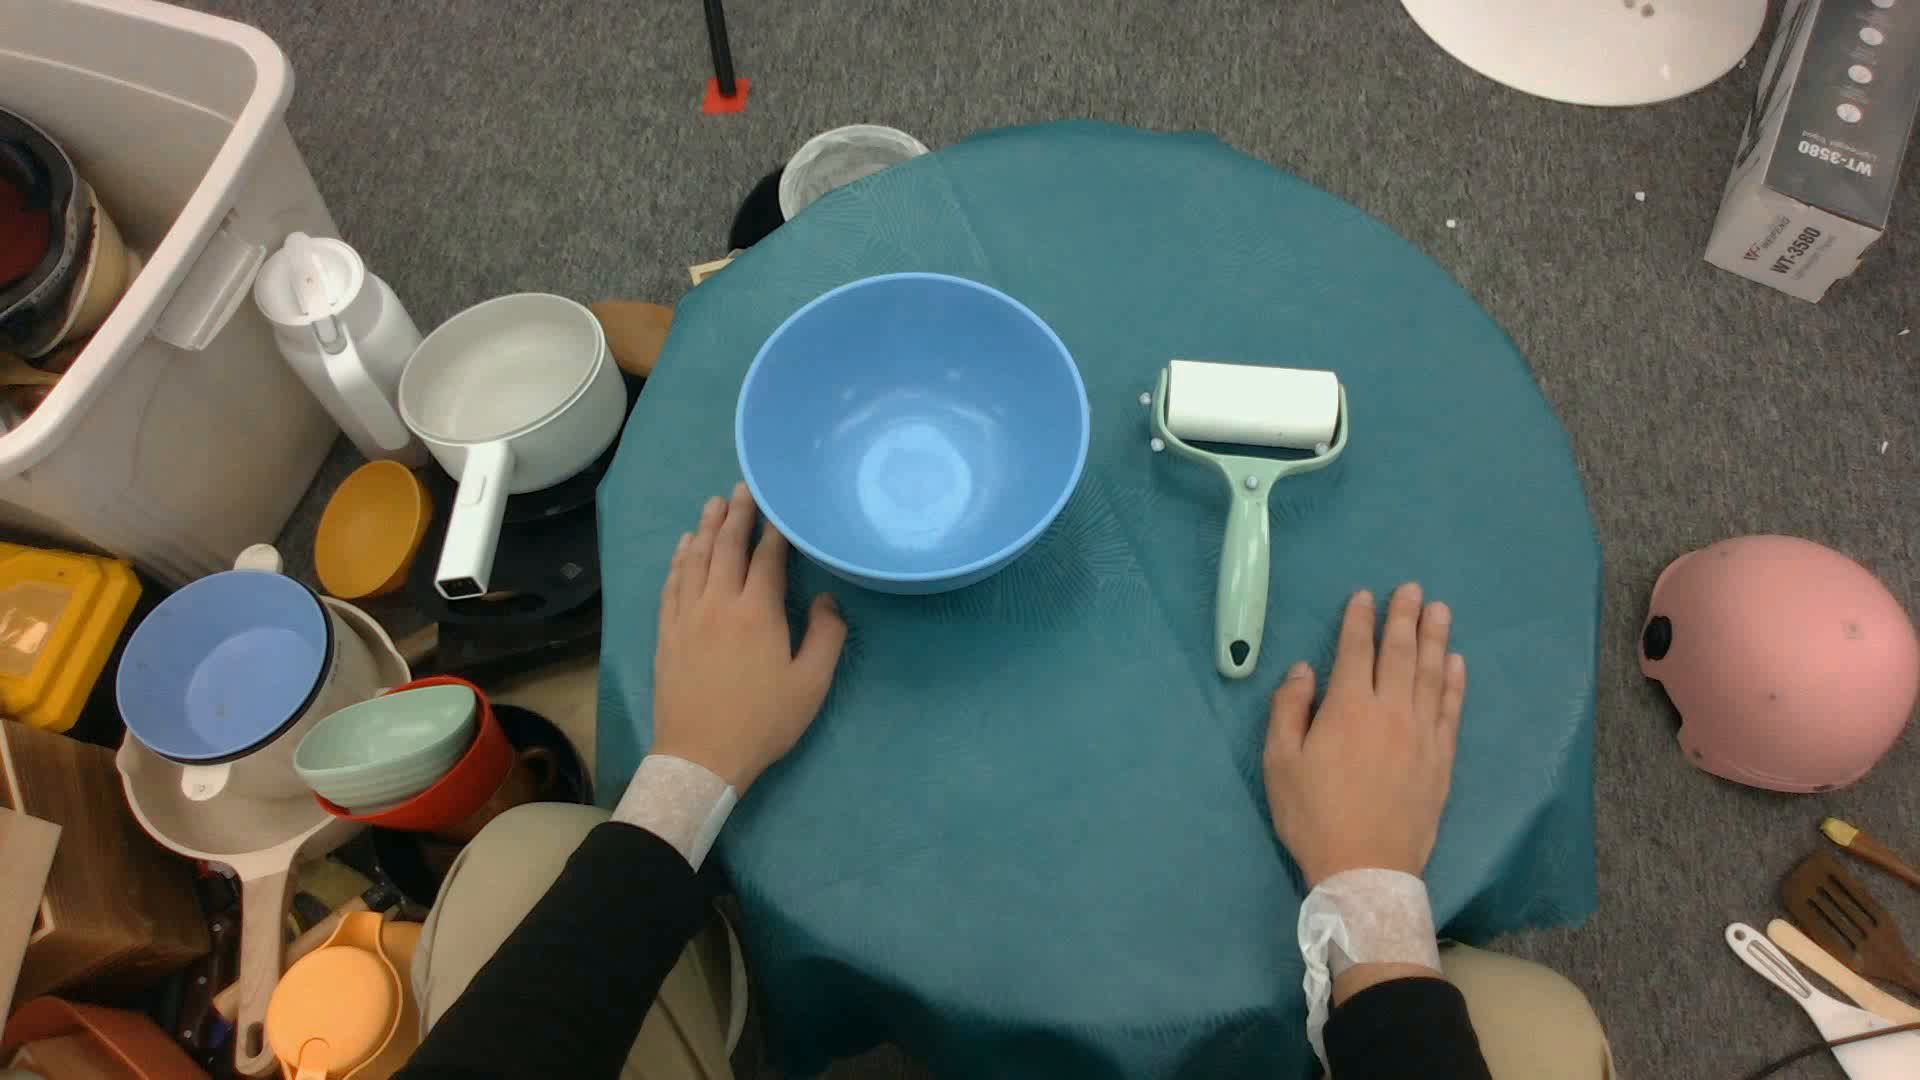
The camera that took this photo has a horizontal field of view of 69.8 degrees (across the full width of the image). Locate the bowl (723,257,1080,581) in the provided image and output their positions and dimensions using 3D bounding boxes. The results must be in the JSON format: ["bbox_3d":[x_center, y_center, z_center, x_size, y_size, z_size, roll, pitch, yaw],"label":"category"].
[{"bbox_3d":[-0.033,-0.056,0.798,0.196,0.095,0.197,1,65,-2],"label":"bowl"}]

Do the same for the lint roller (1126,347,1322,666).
[{"bbox_3d":[0.154,-0.024,0.814,0.116,0.048,0.198,5,66,0],"label":"lint roller"}]
